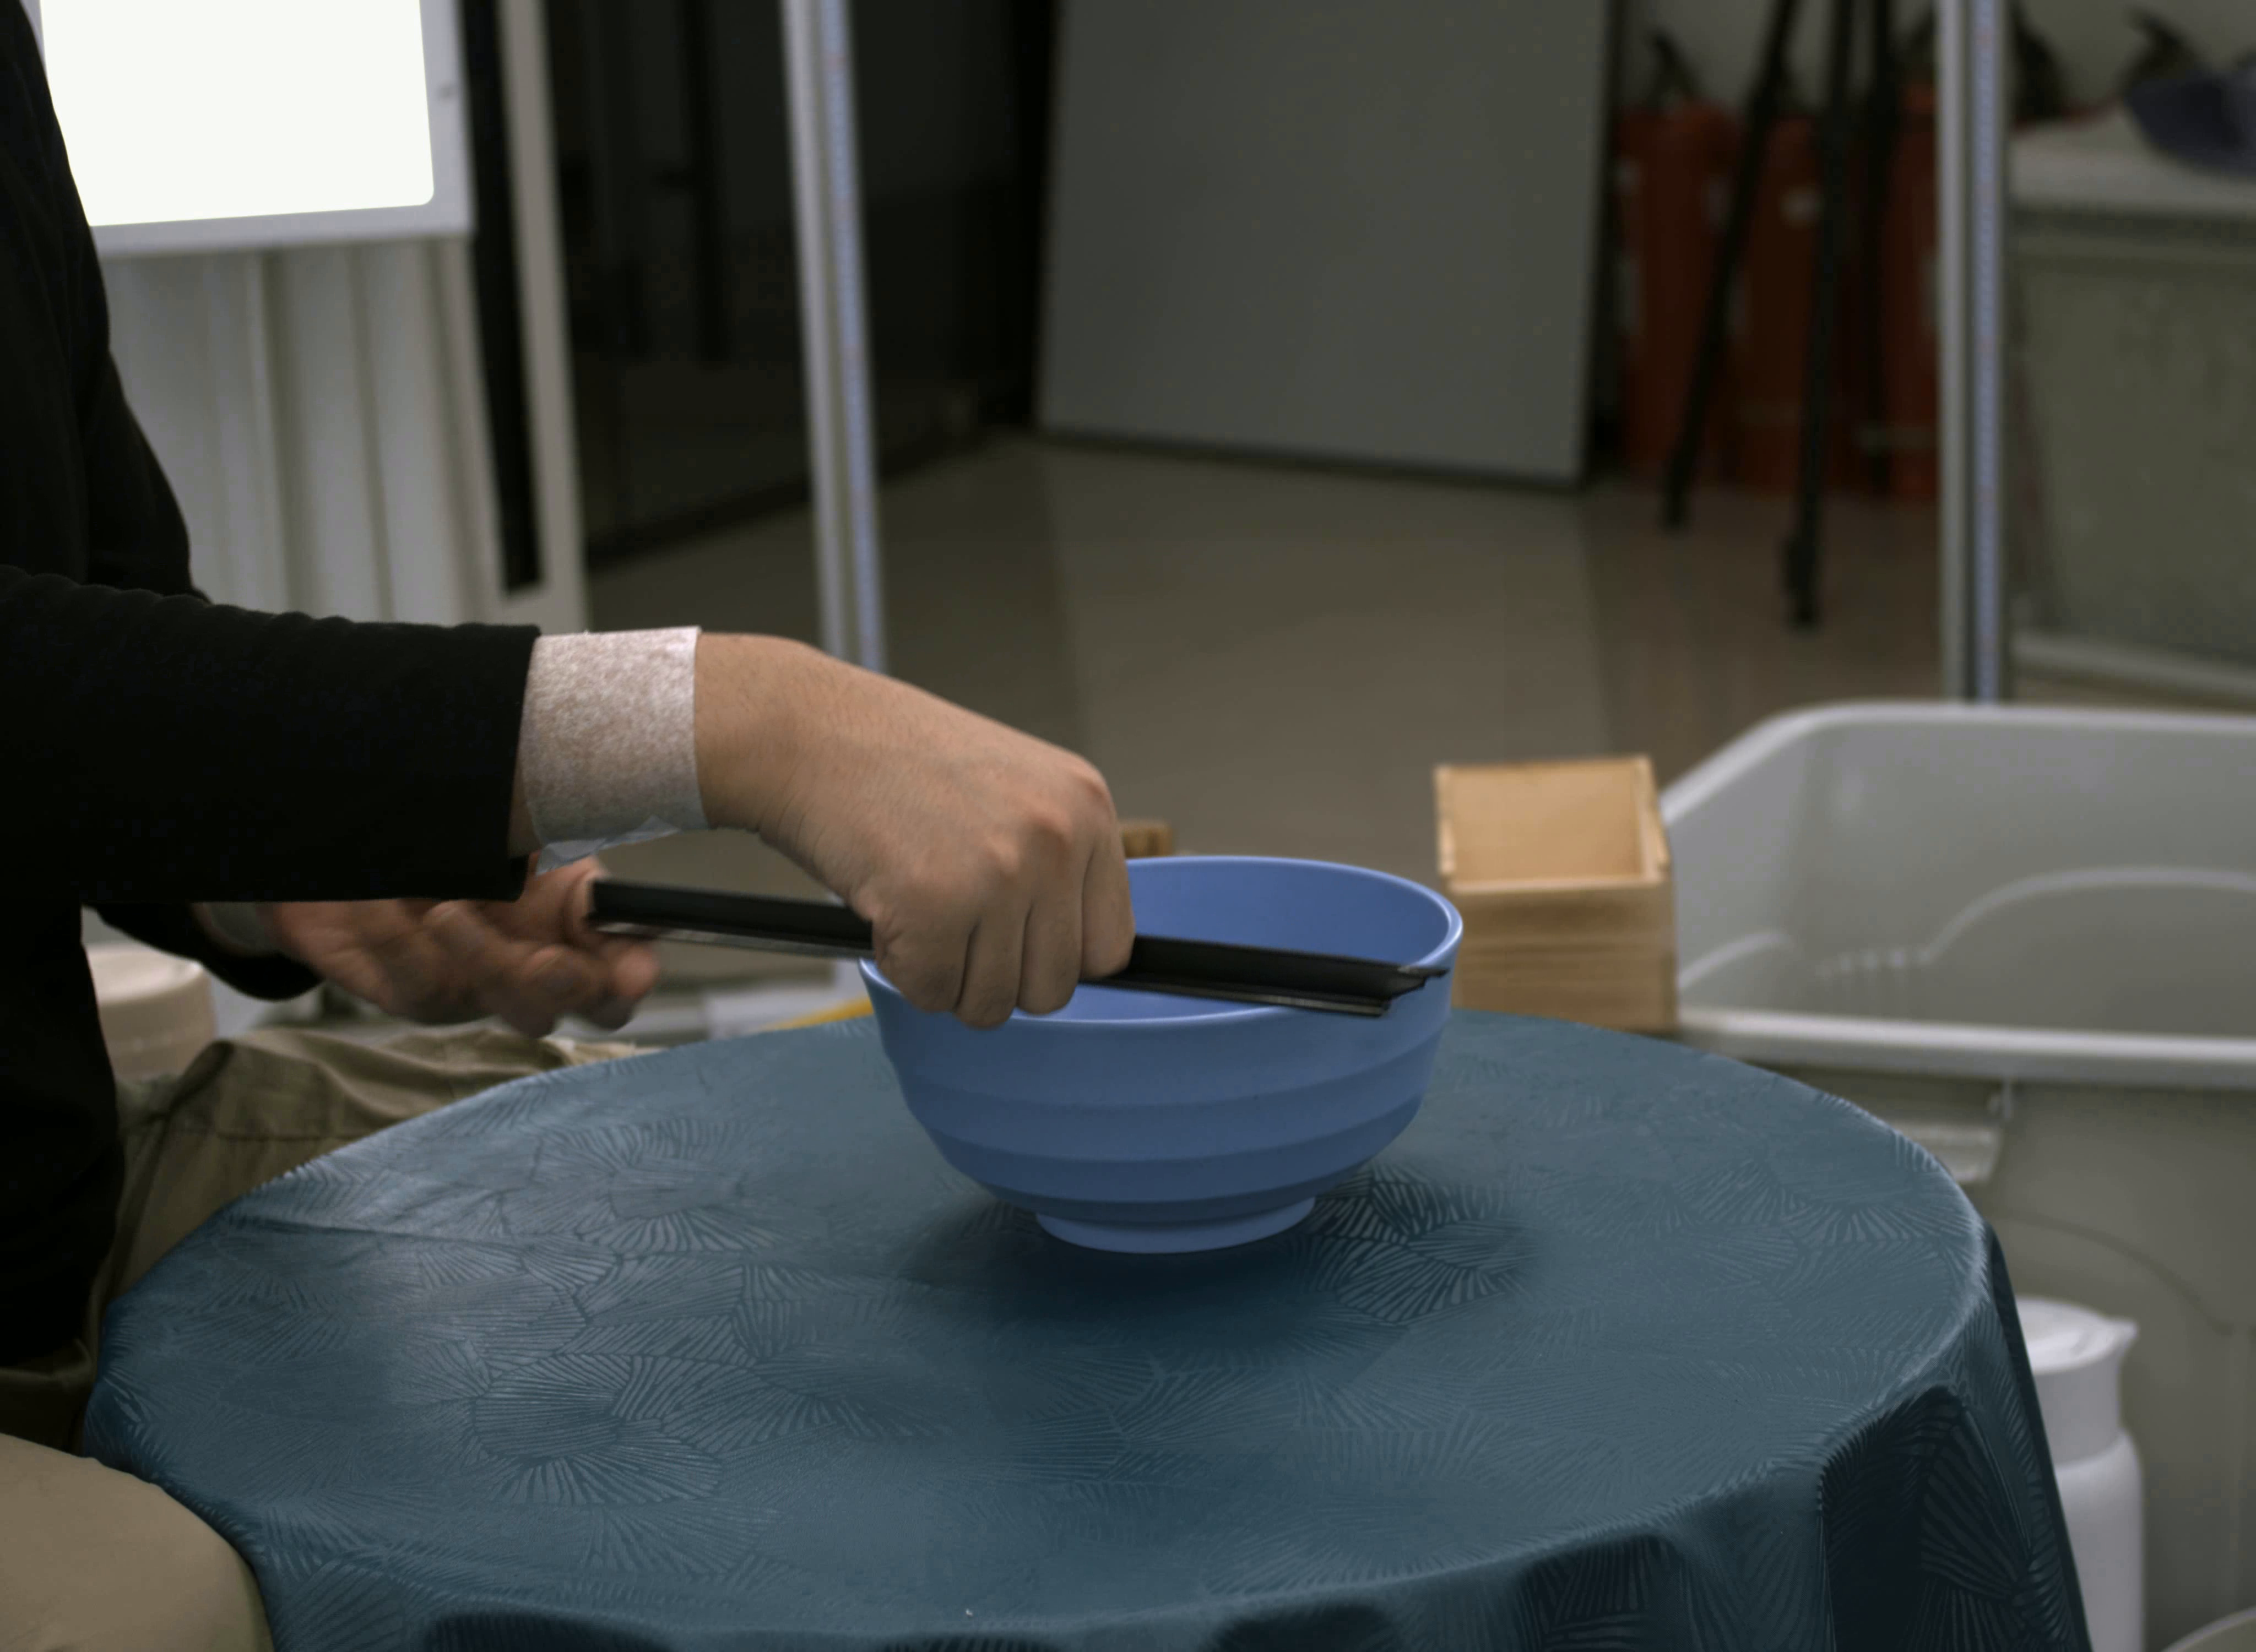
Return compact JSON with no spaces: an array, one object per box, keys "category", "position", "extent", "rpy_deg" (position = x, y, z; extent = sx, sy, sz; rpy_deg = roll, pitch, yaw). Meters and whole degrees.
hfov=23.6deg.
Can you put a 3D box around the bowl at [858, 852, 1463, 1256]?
[{"category":"bowl","position":[0.013,0.079,1.737],"extent":[0.194,0.096,0.197],"rpy_deg":[-3,14,0]}]

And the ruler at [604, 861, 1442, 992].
[{"category":"ruler","position":[-0.038,0.025,1.617],"extent":[0.315,0.017,0.038],"rpy_deg":[5,18,41]}]
